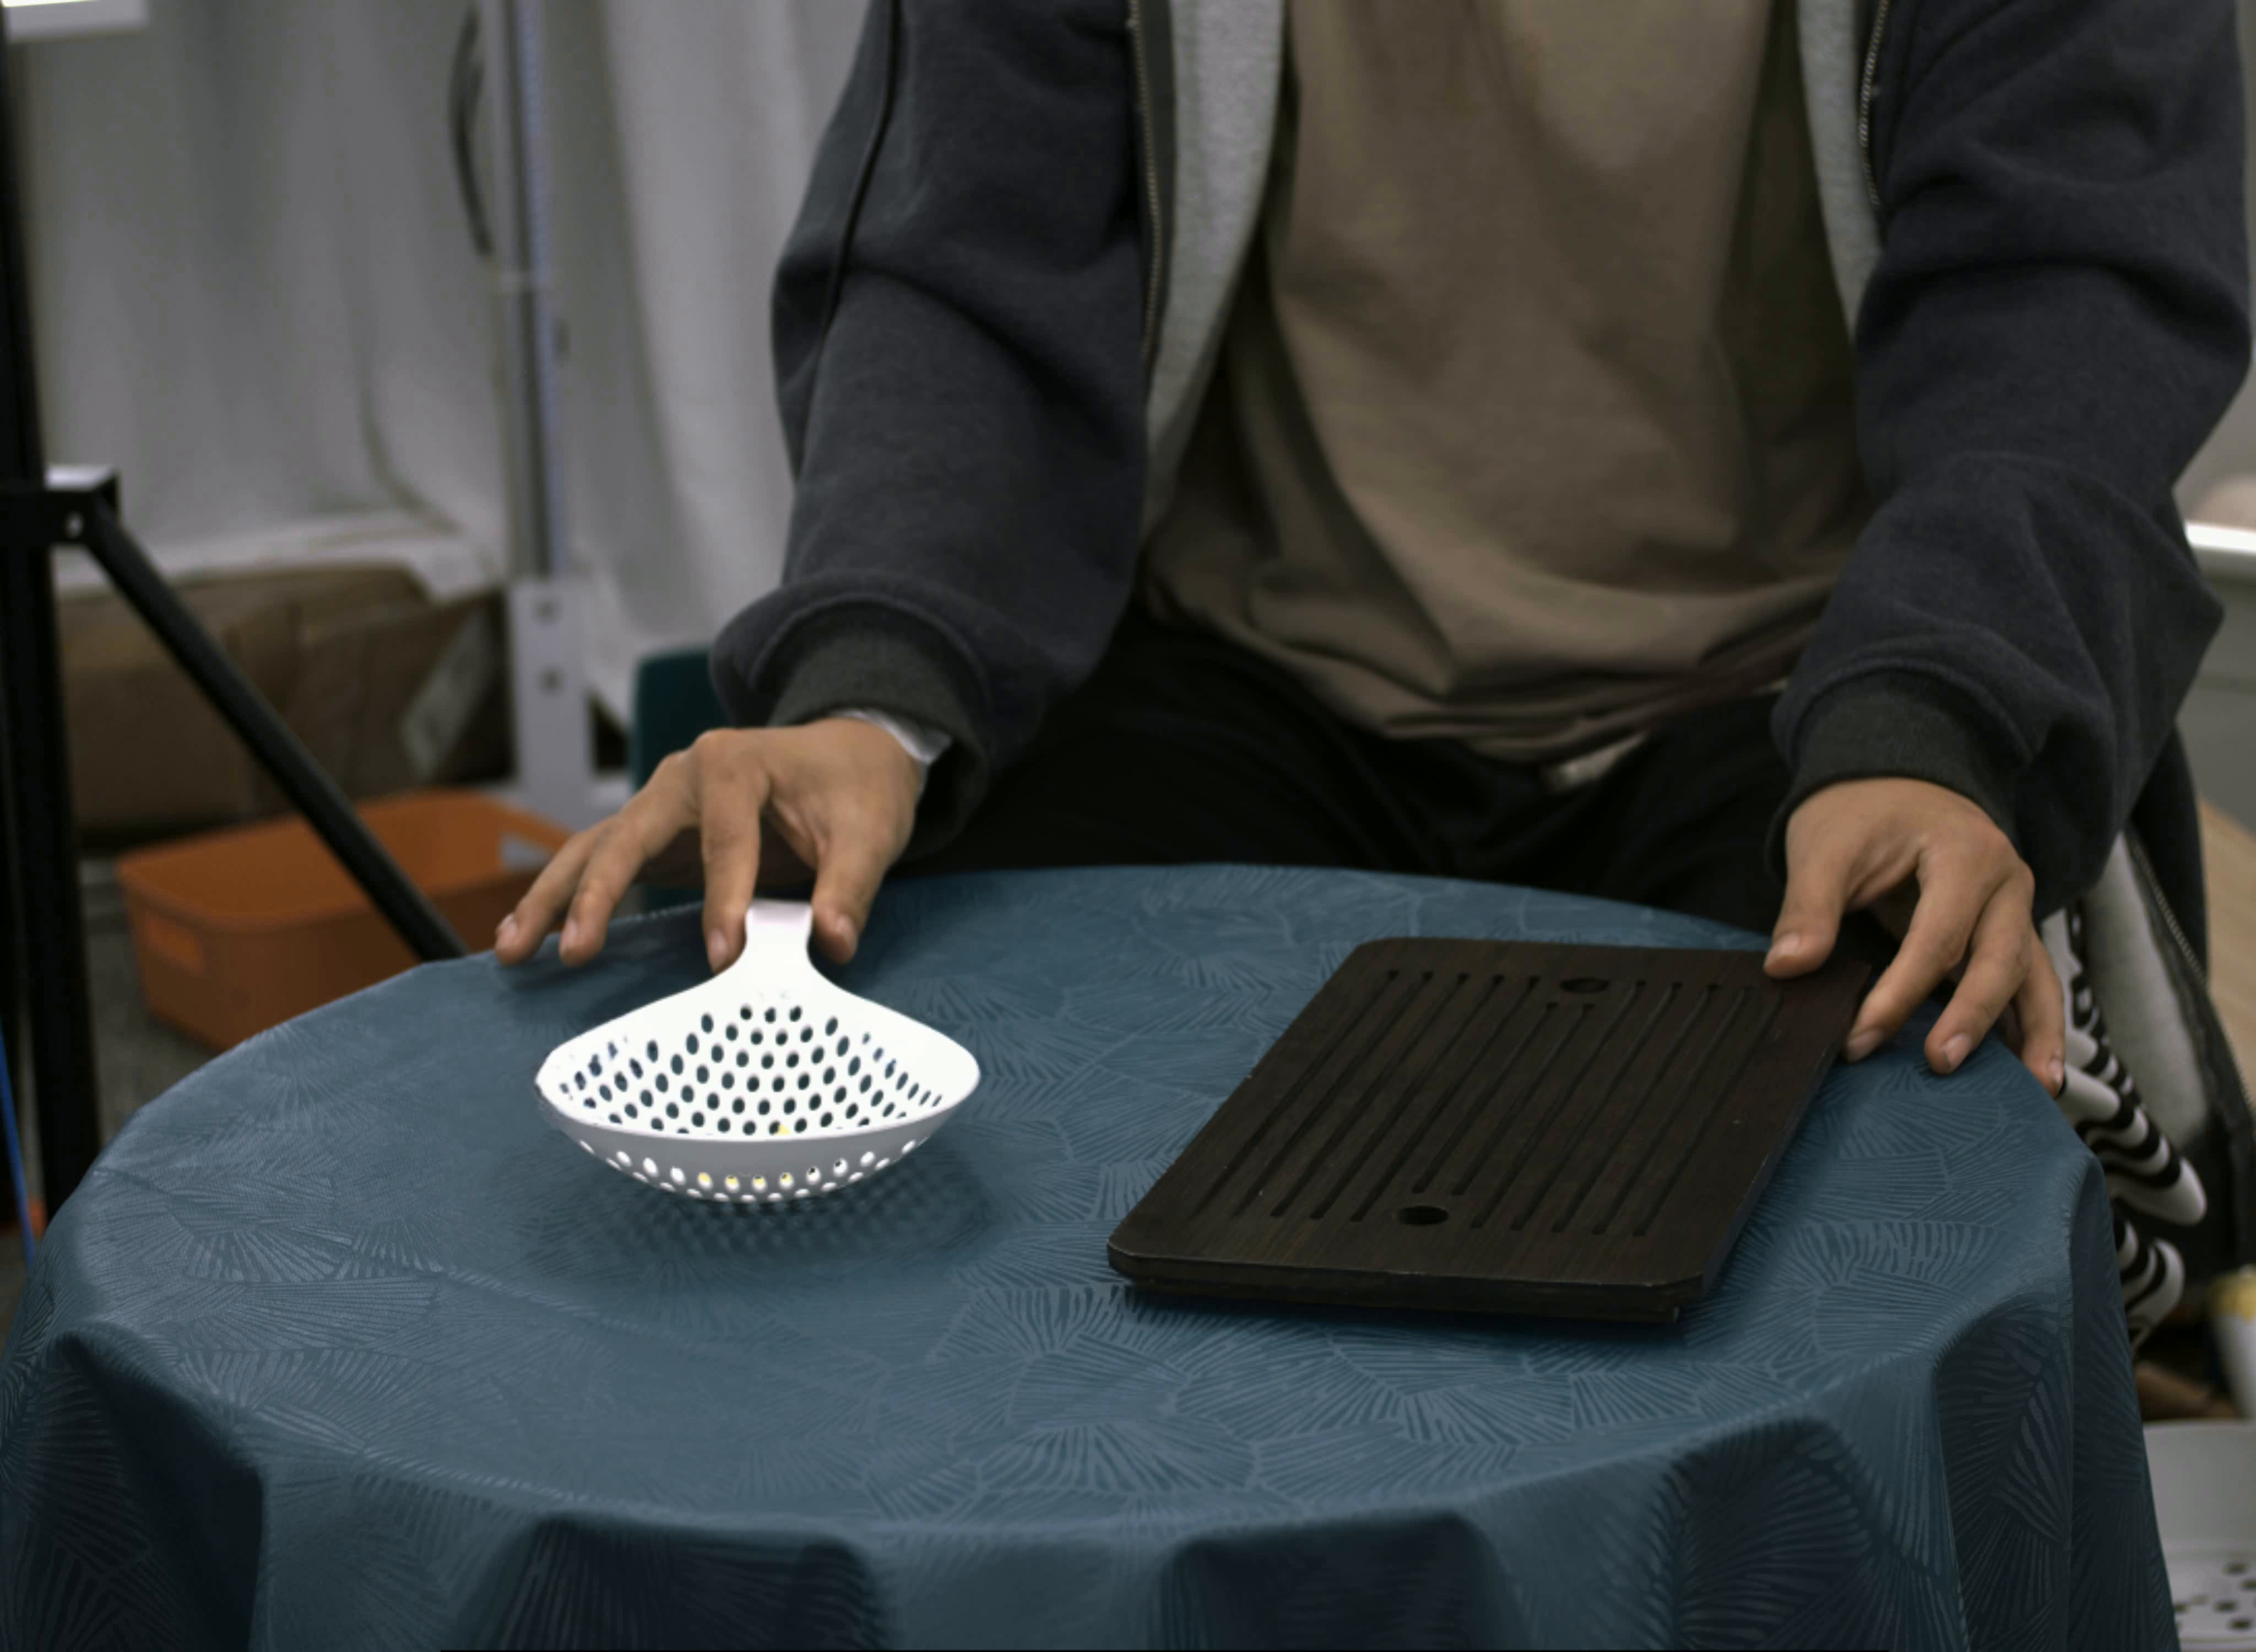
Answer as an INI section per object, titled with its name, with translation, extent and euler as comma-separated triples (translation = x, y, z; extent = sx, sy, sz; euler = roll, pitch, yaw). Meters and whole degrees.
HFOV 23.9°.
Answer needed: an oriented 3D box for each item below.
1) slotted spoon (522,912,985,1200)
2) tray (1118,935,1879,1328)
[slotted spoon]
translation = -0.114, 0.058, 1.679
extent = 0.136, 0.050, 0.350
euler = -3, 16, -2
[tray]
translation = 0.118, 0.088, 1.576
extent = 0.172, 0.018, 0.303
euler = 2, 16, 18
